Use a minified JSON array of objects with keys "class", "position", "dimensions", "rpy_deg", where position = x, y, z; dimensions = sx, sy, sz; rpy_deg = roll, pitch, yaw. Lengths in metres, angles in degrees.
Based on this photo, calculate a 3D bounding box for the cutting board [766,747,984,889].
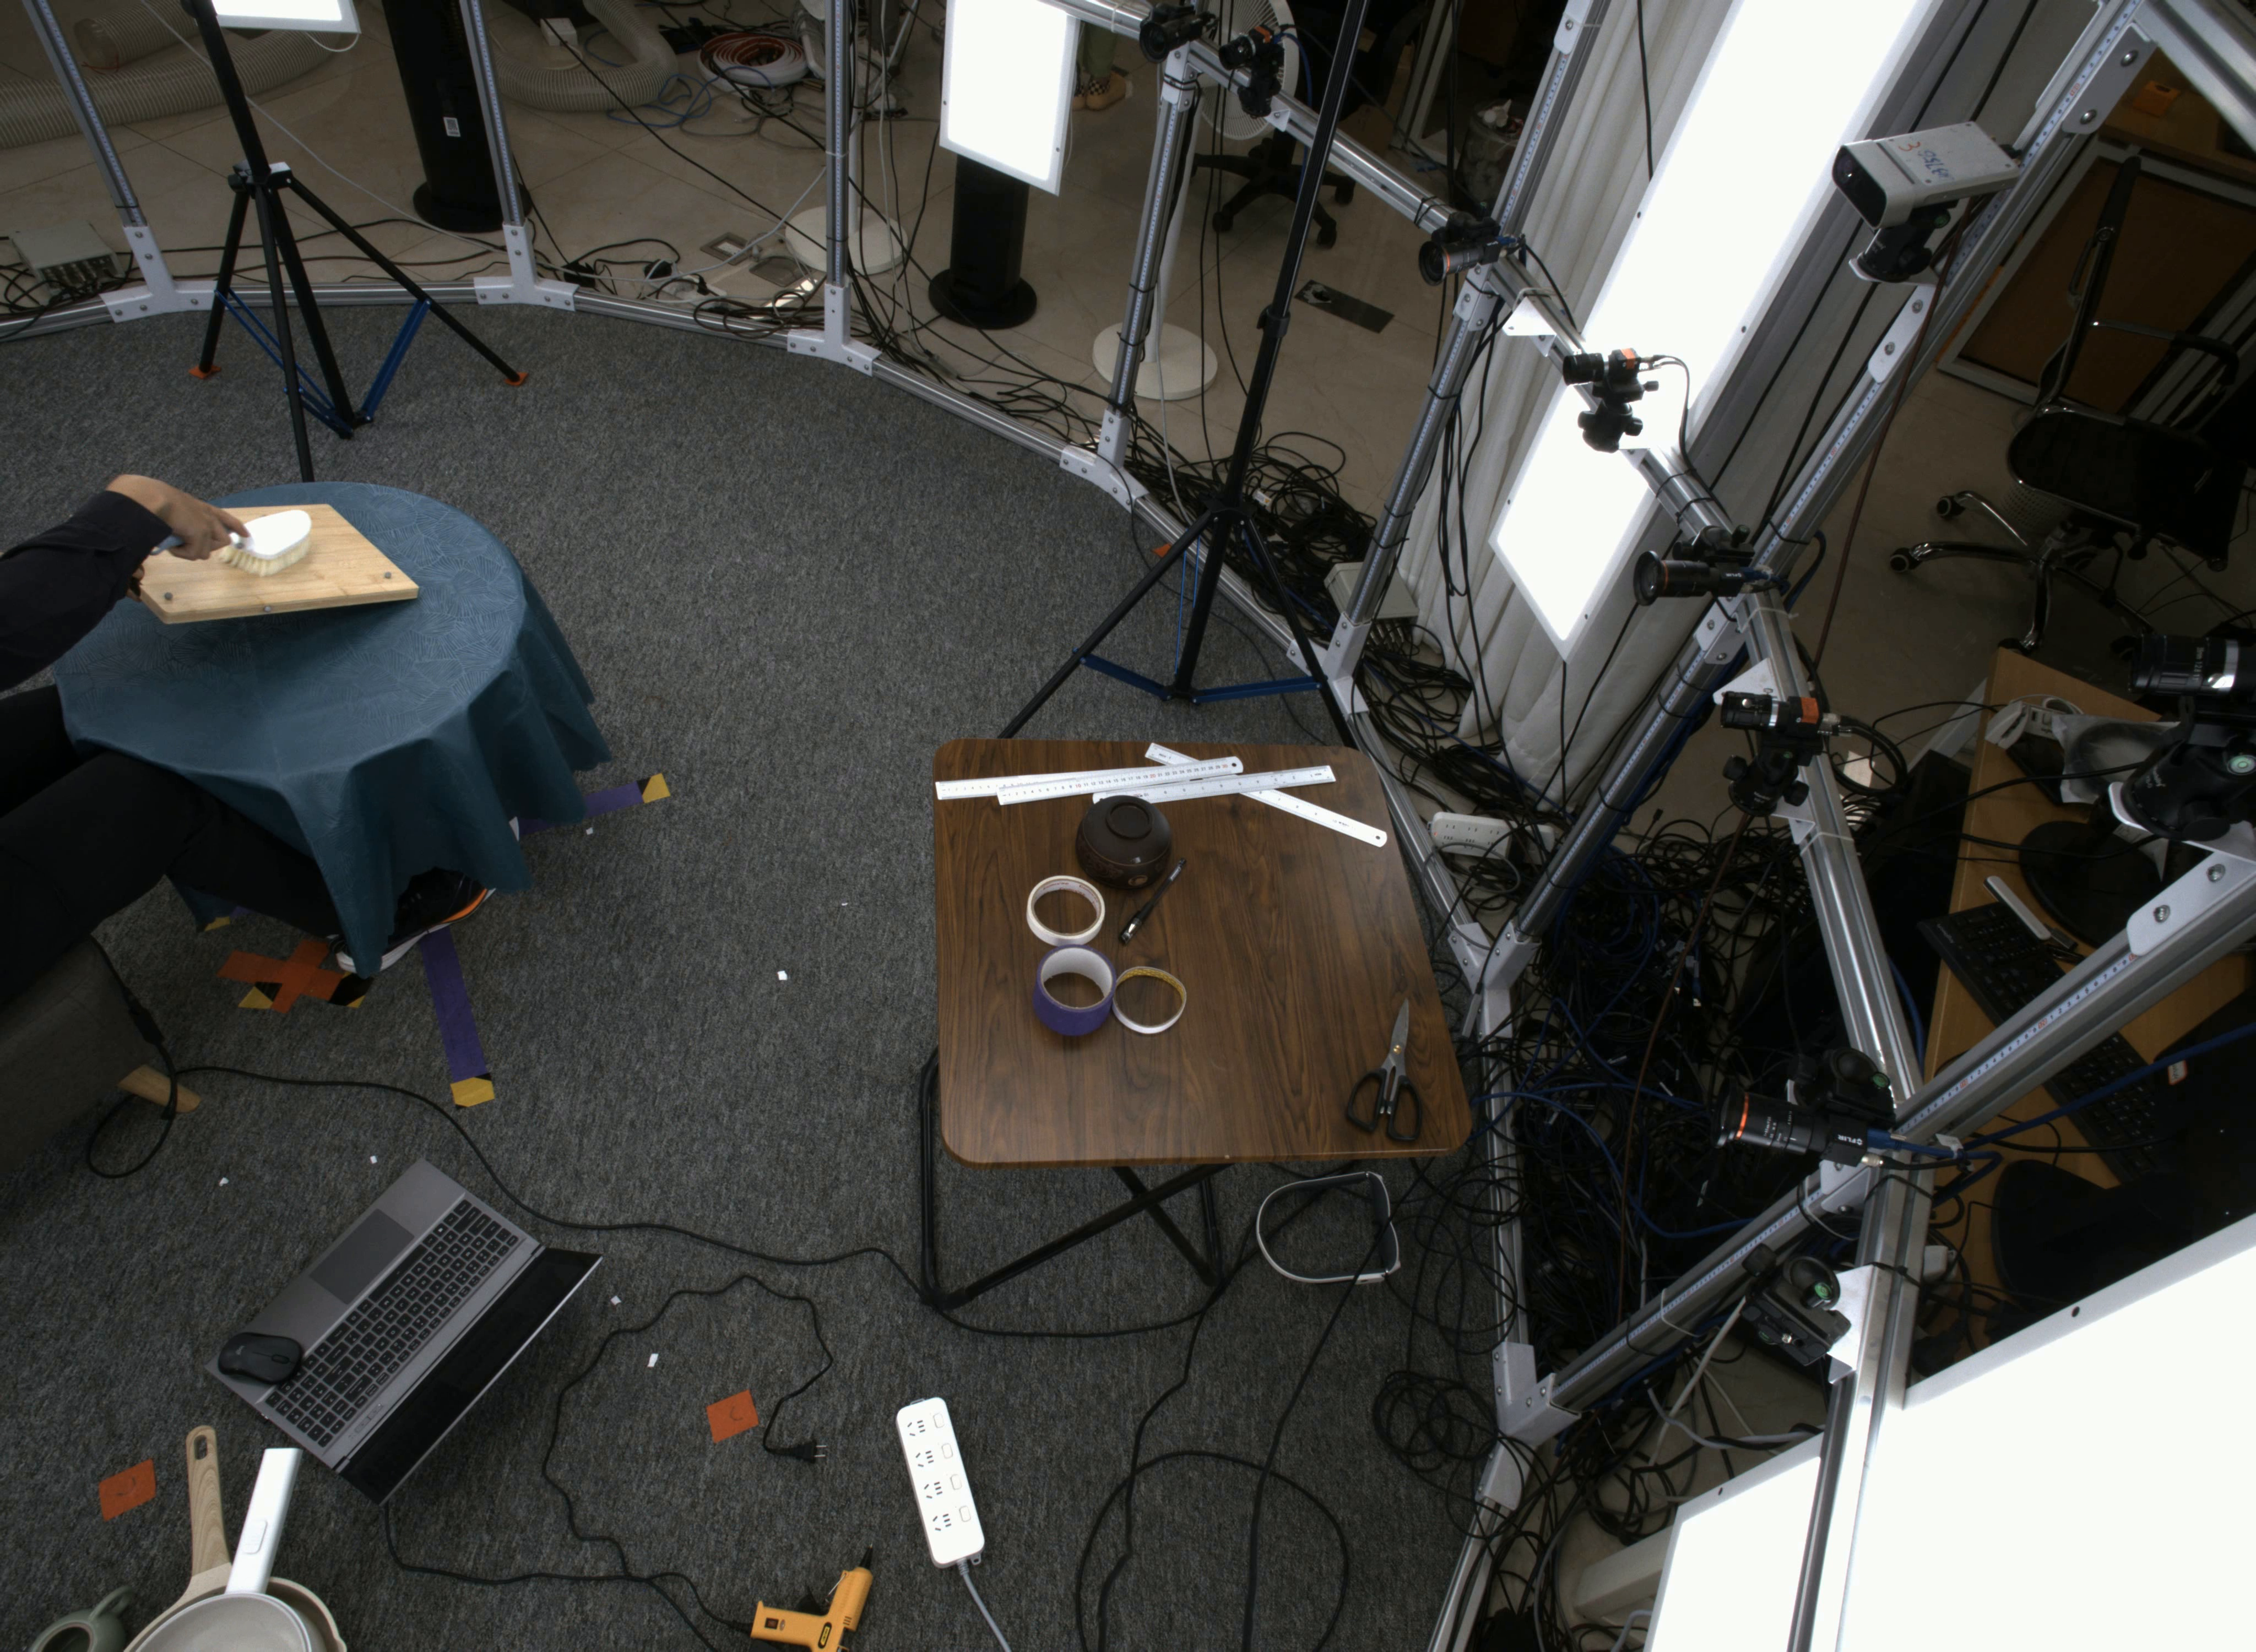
[{"class":"cutting board","position":[-0.404,-0.013,2.072],"dimensions":[0.357,0.024,0.242],"rpy_deg":[23,14,-30]}]

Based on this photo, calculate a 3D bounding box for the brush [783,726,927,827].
[{"class":"brush","position":[-0.427,-0.061,1.976],"dimensions":[0.081,0.084,0.335],"rpy_deg":[-5,-18,27]}]
